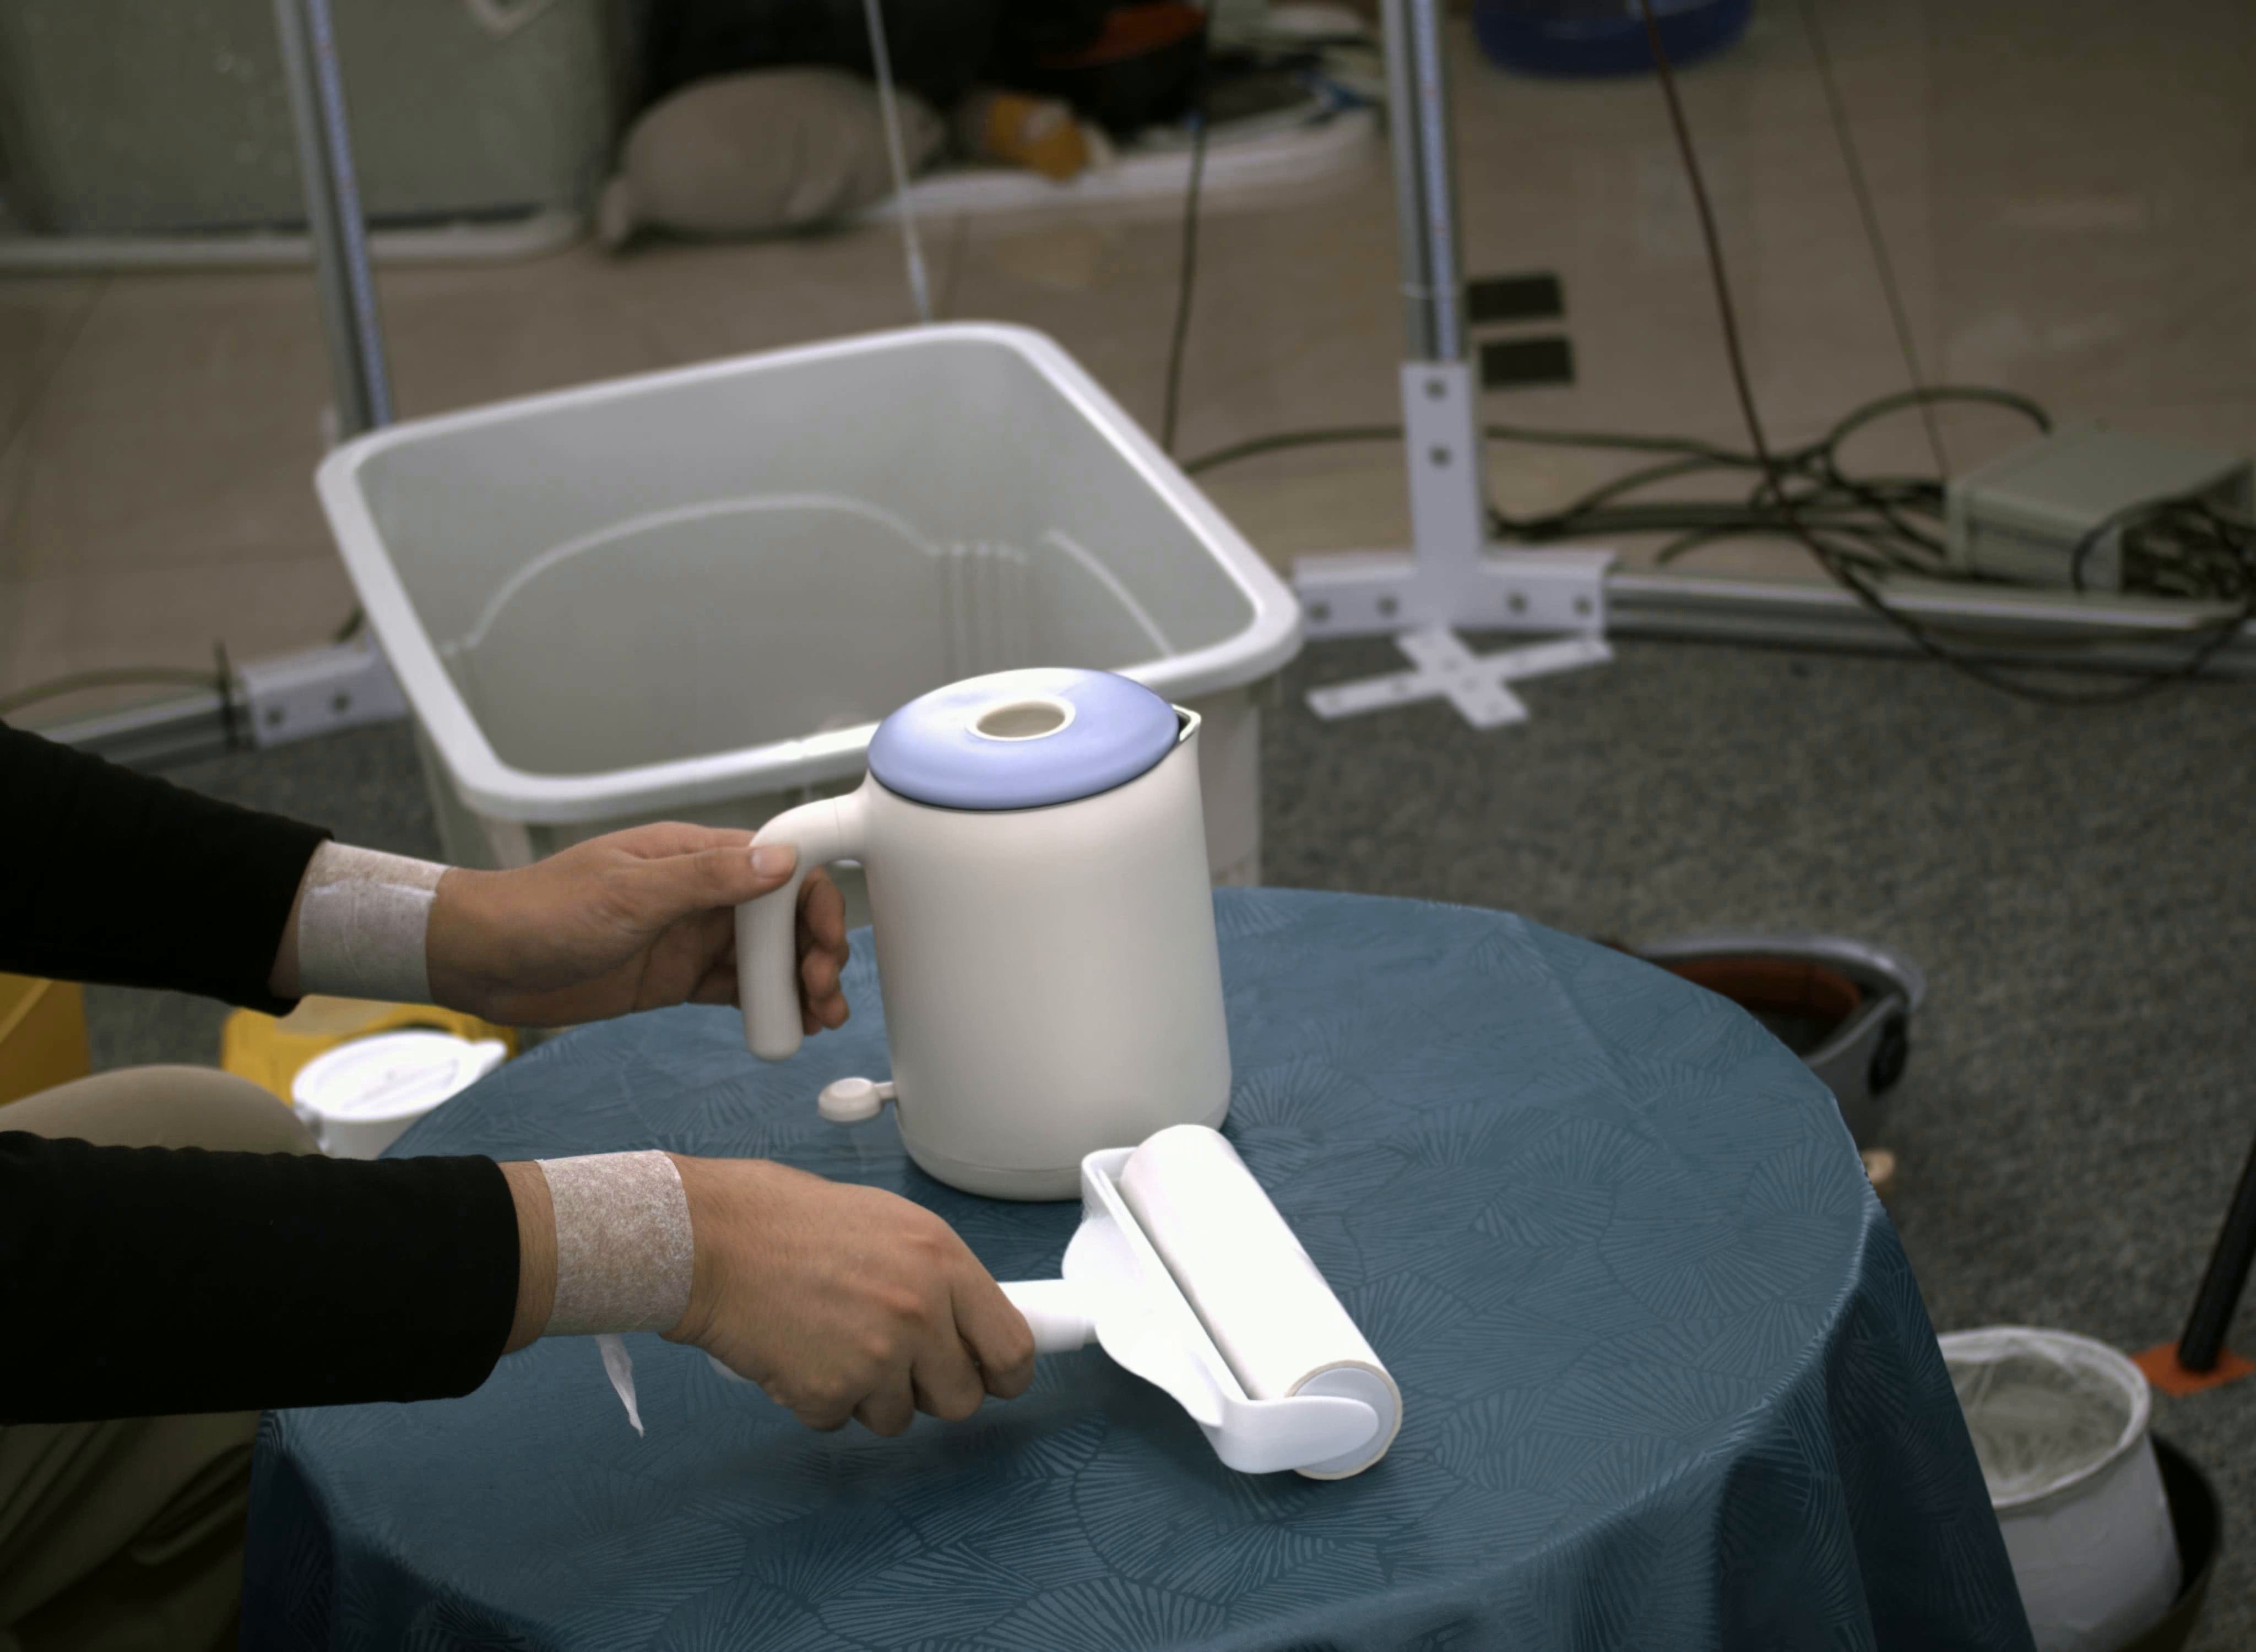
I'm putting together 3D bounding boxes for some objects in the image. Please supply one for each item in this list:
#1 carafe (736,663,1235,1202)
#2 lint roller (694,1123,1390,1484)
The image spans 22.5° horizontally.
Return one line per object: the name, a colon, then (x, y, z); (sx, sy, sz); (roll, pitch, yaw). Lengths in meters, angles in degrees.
carafe: (-0.055, 0.045, 2.158); (0.190, 0.185, 0.130); (-12, 25, -6)
lint roller: (-0.042, 0.172, 1.993); (0.225, 0.049, 0.200); (-3, 25, -17)
